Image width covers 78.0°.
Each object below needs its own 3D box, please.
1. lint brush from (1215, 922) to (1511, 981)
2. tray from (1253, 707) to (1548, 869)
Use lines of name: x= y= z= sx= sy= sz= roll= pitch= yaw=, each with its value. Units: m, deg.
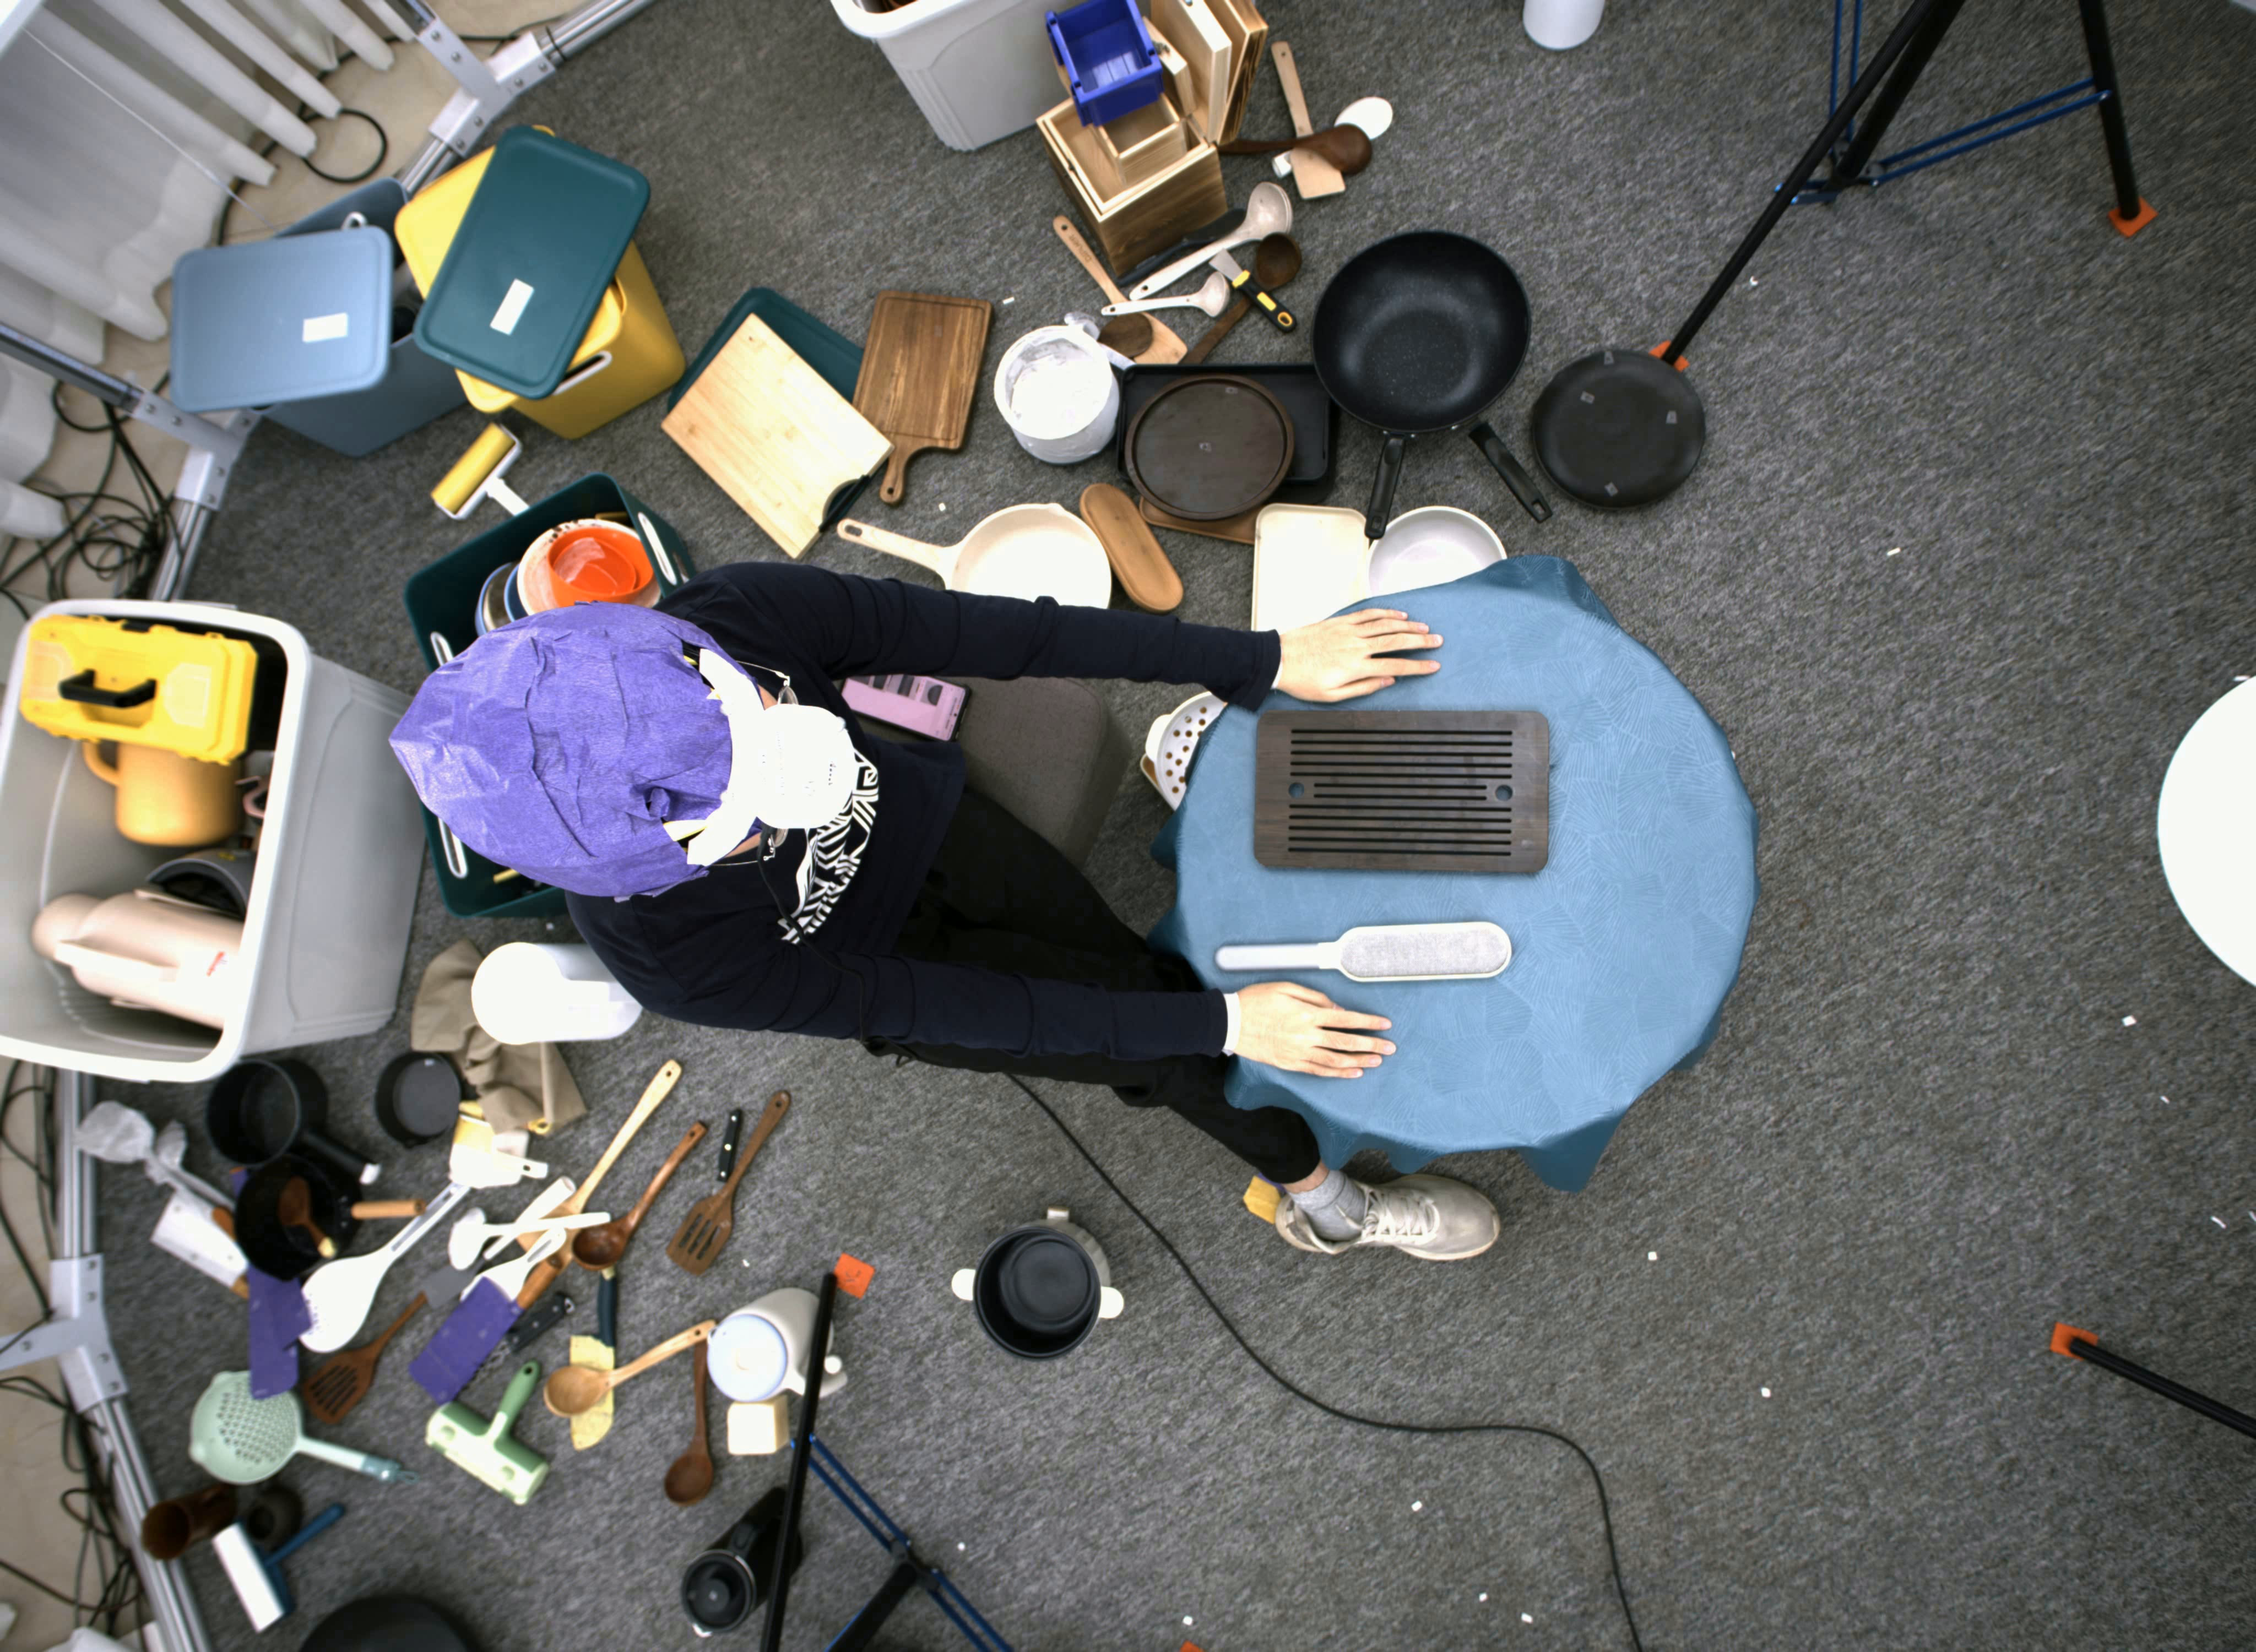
lint brush: x=0.244 y=0.131 z=1.448 sx=0.310 sy=0.021 sz=0.060 roll=-3 pitch=91 yaw=11
tray: x=0.286 y=-0.042 z=1.455 sx=0.307 sy=0.018 sz=0.169 roll=0 pitch=87 yaw=11
